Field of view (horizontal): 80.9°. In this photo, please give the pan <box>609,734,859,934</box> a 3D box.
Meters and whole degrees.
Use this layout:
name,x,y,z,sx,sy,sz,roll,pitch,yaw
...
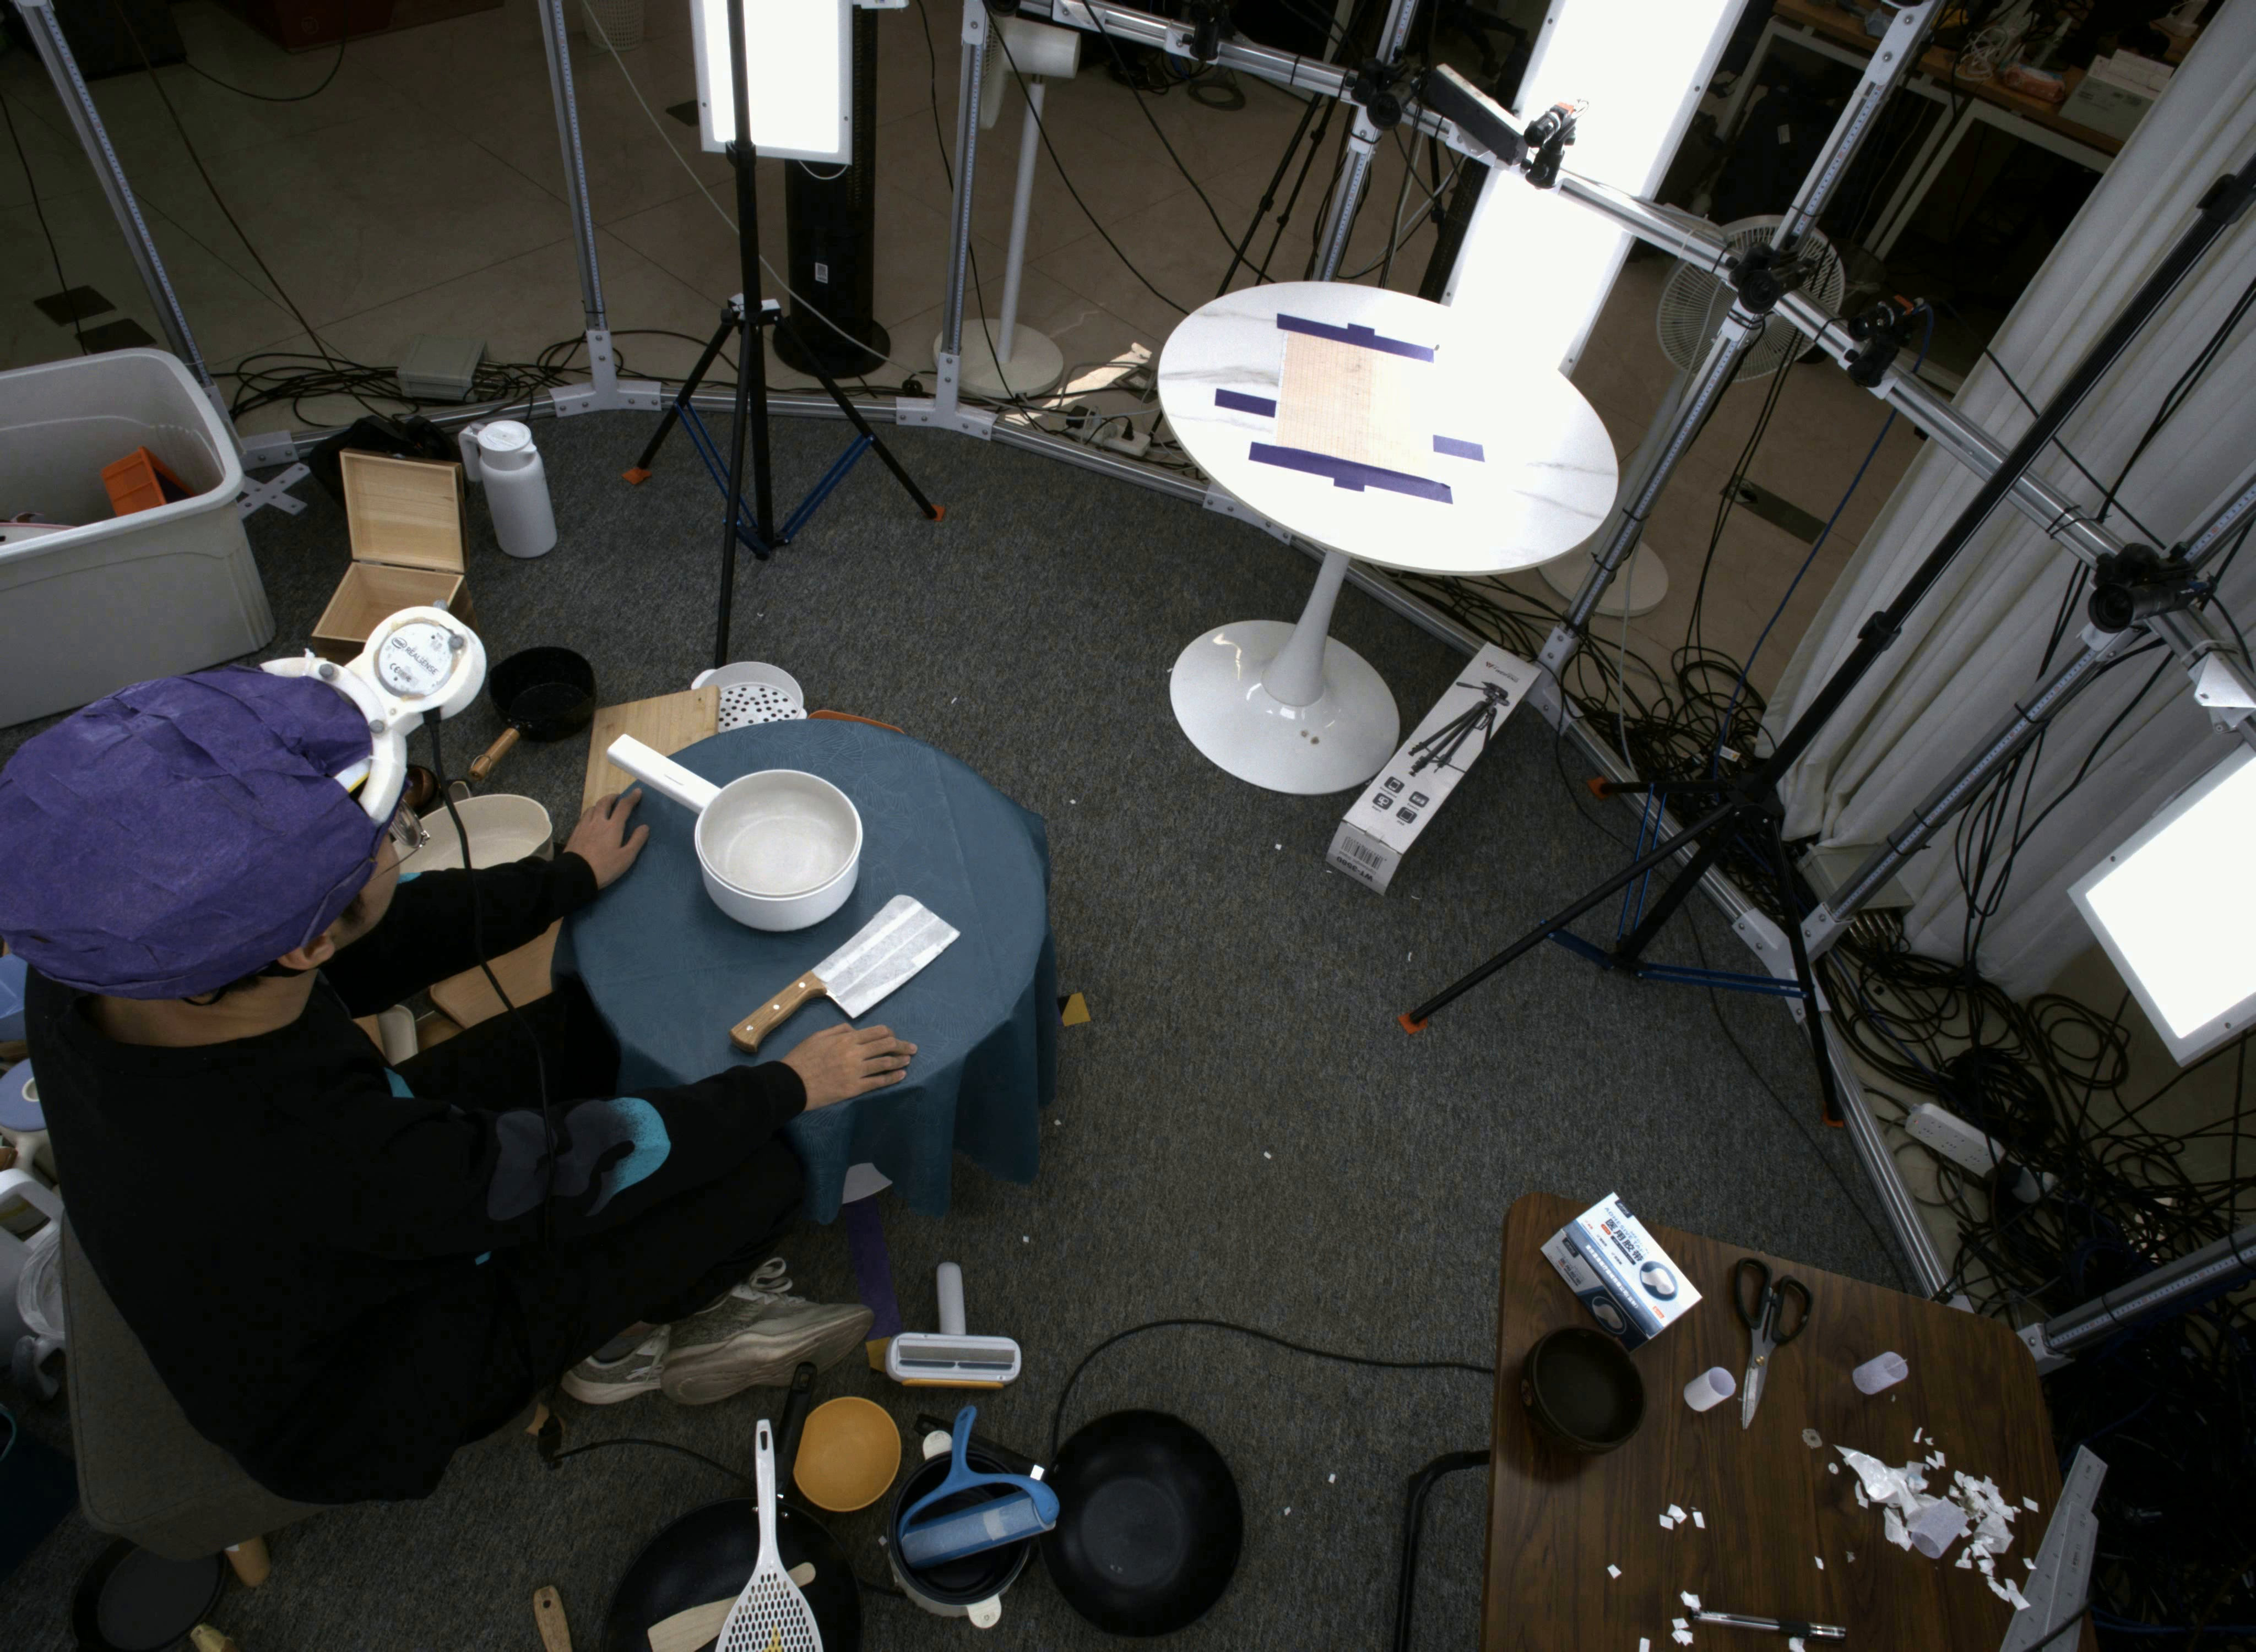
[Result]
name,x,y,z,sx,sy,sz,roll,pitch,yaw
pan,-0.504,0.000,1.629,0.349,0.104,0.200,27,53,7

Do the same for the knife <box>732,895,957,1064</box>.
name,x,y,z,sx,sy,sz,roll,pitch,yaw
knife,-0.348,0.184,1.585,0.111,0.022,0.316,41,52,16
